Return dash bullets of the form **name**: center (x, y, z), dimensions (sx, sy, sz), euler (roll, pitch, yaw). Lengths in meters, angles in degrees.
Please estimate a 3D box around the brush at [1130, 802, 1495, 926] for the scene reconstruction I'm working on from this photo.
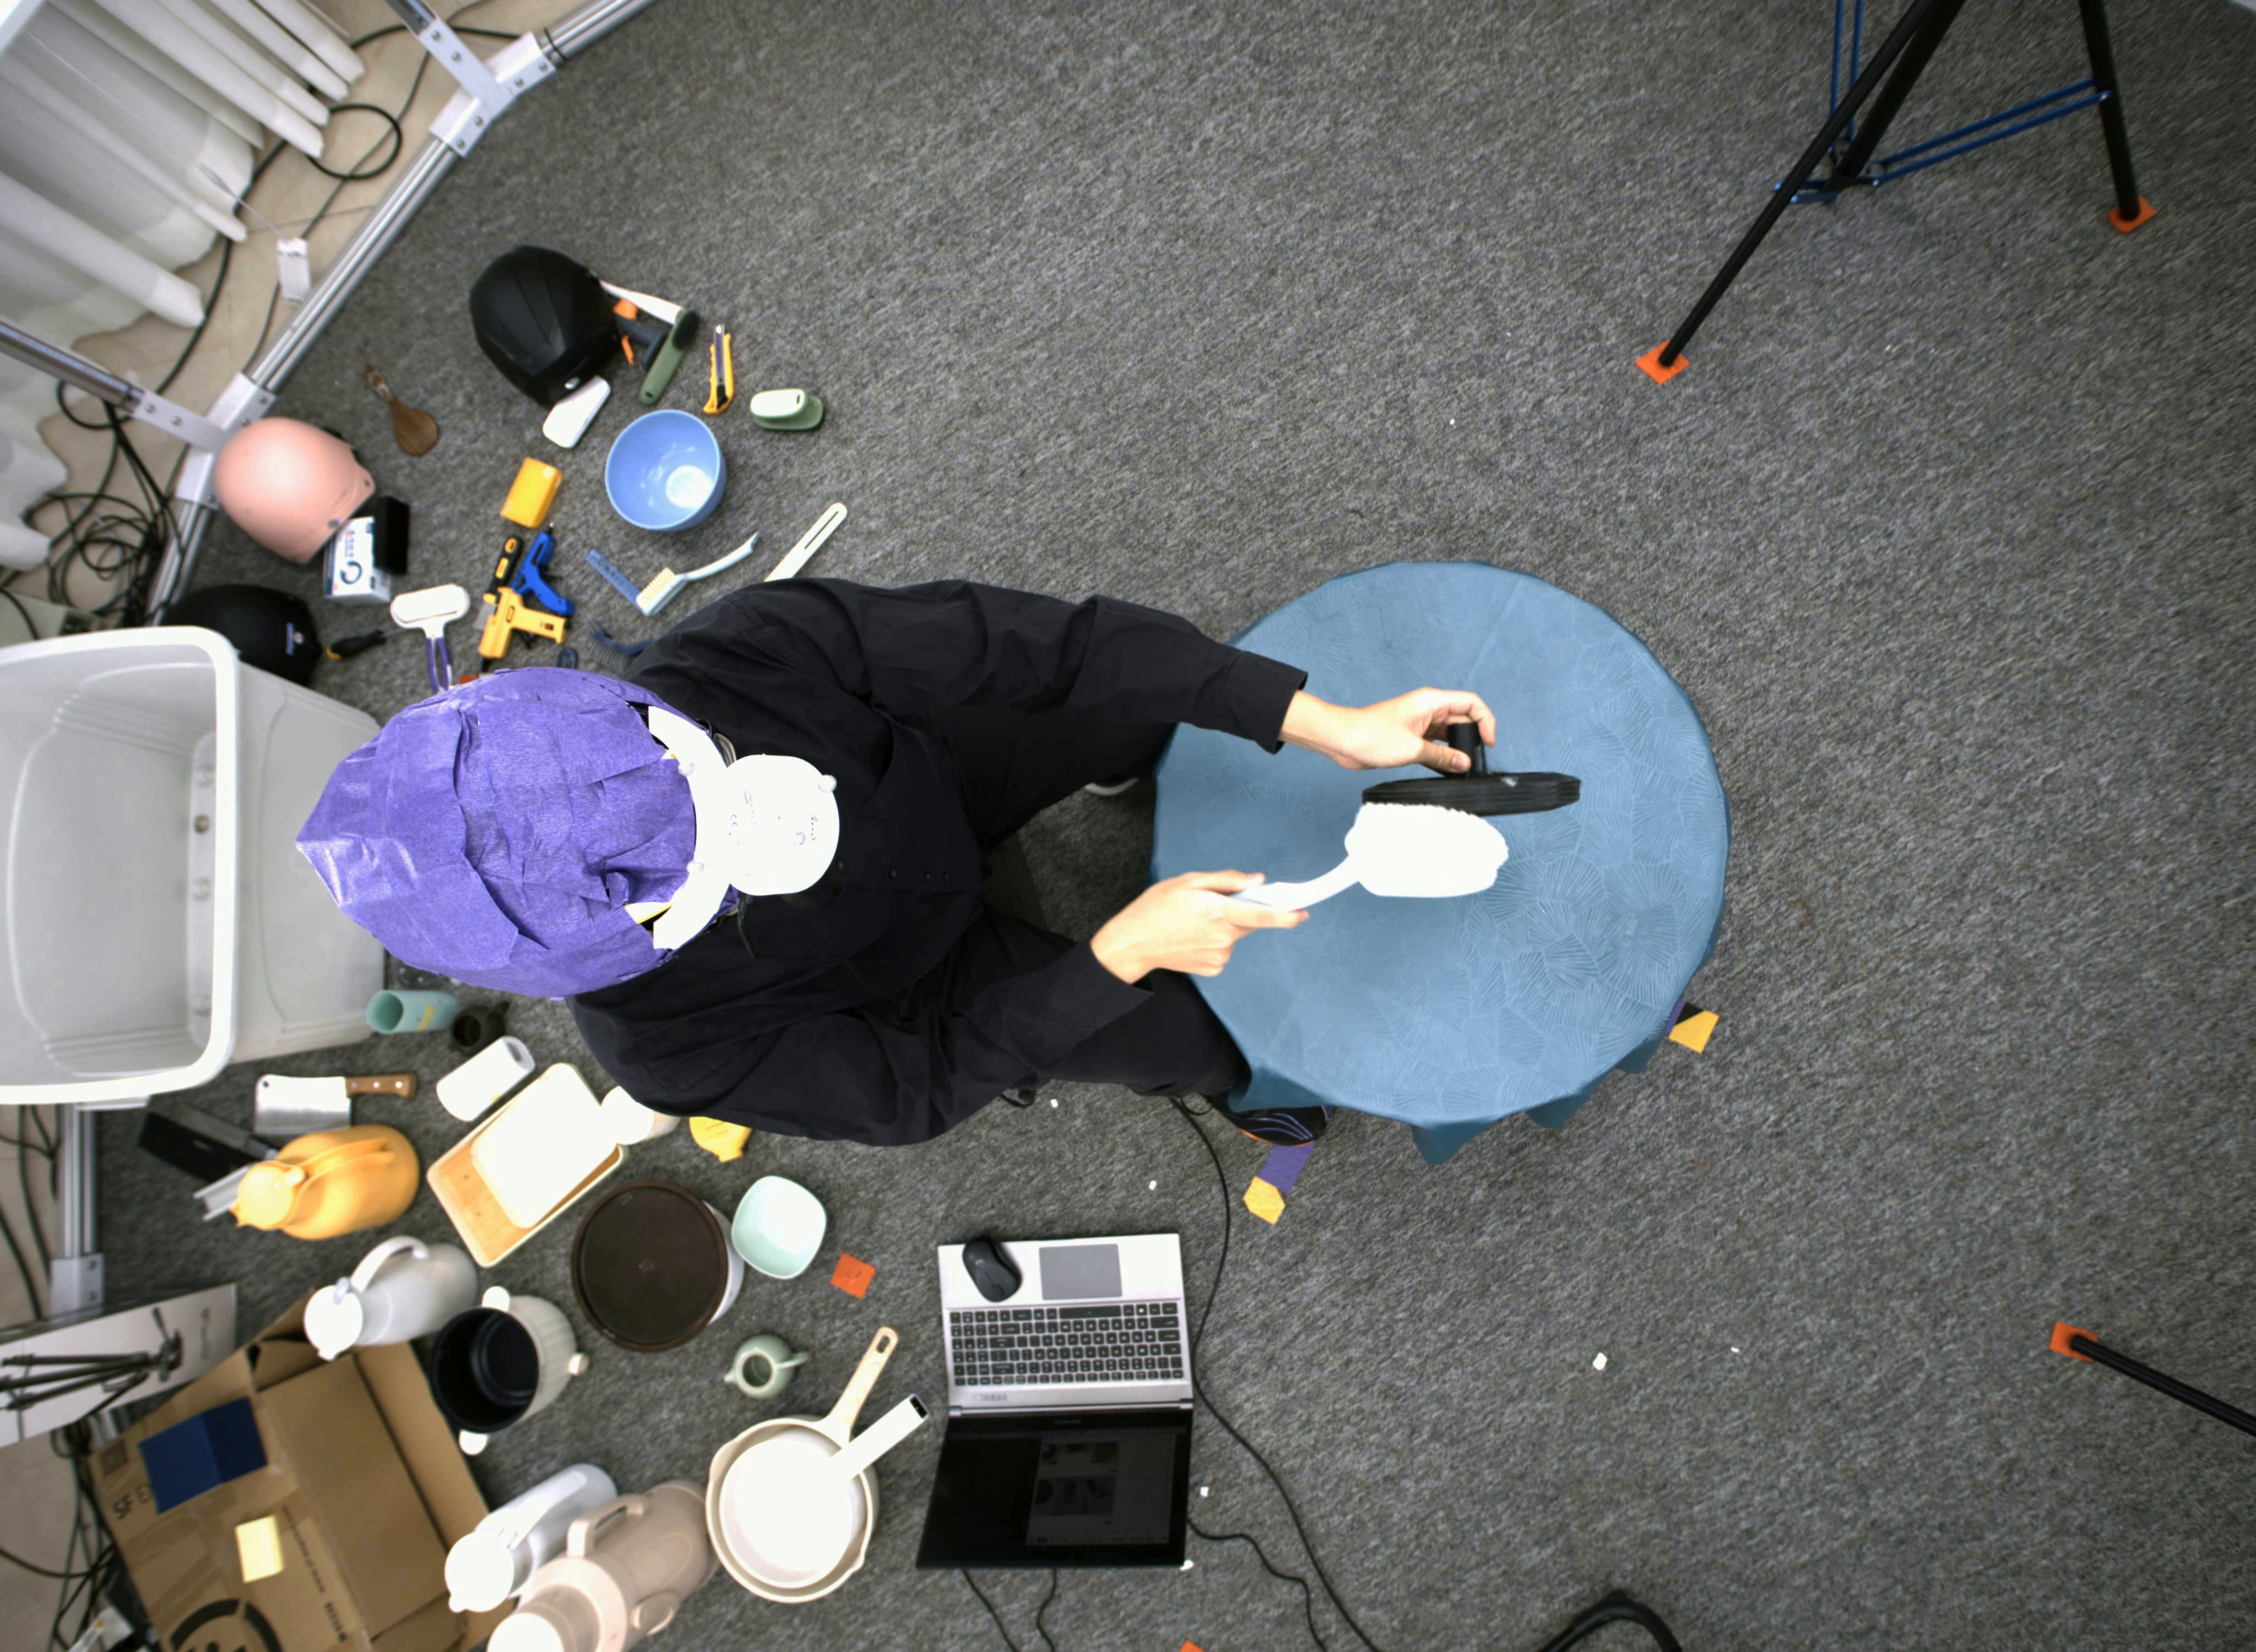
- **brush**: center (0.152, 0.027, 1.188), dimensions (0.329, 0.083, 0.083), euler (-9, 92, 28)

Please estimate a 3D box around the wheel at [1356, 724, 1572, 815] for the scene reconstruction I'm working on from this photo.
- **wheel**: center (0.296, -0.052, 1.222), dimensions (0.188, 0.188, 0.079), euler (-7, 94, -24)
